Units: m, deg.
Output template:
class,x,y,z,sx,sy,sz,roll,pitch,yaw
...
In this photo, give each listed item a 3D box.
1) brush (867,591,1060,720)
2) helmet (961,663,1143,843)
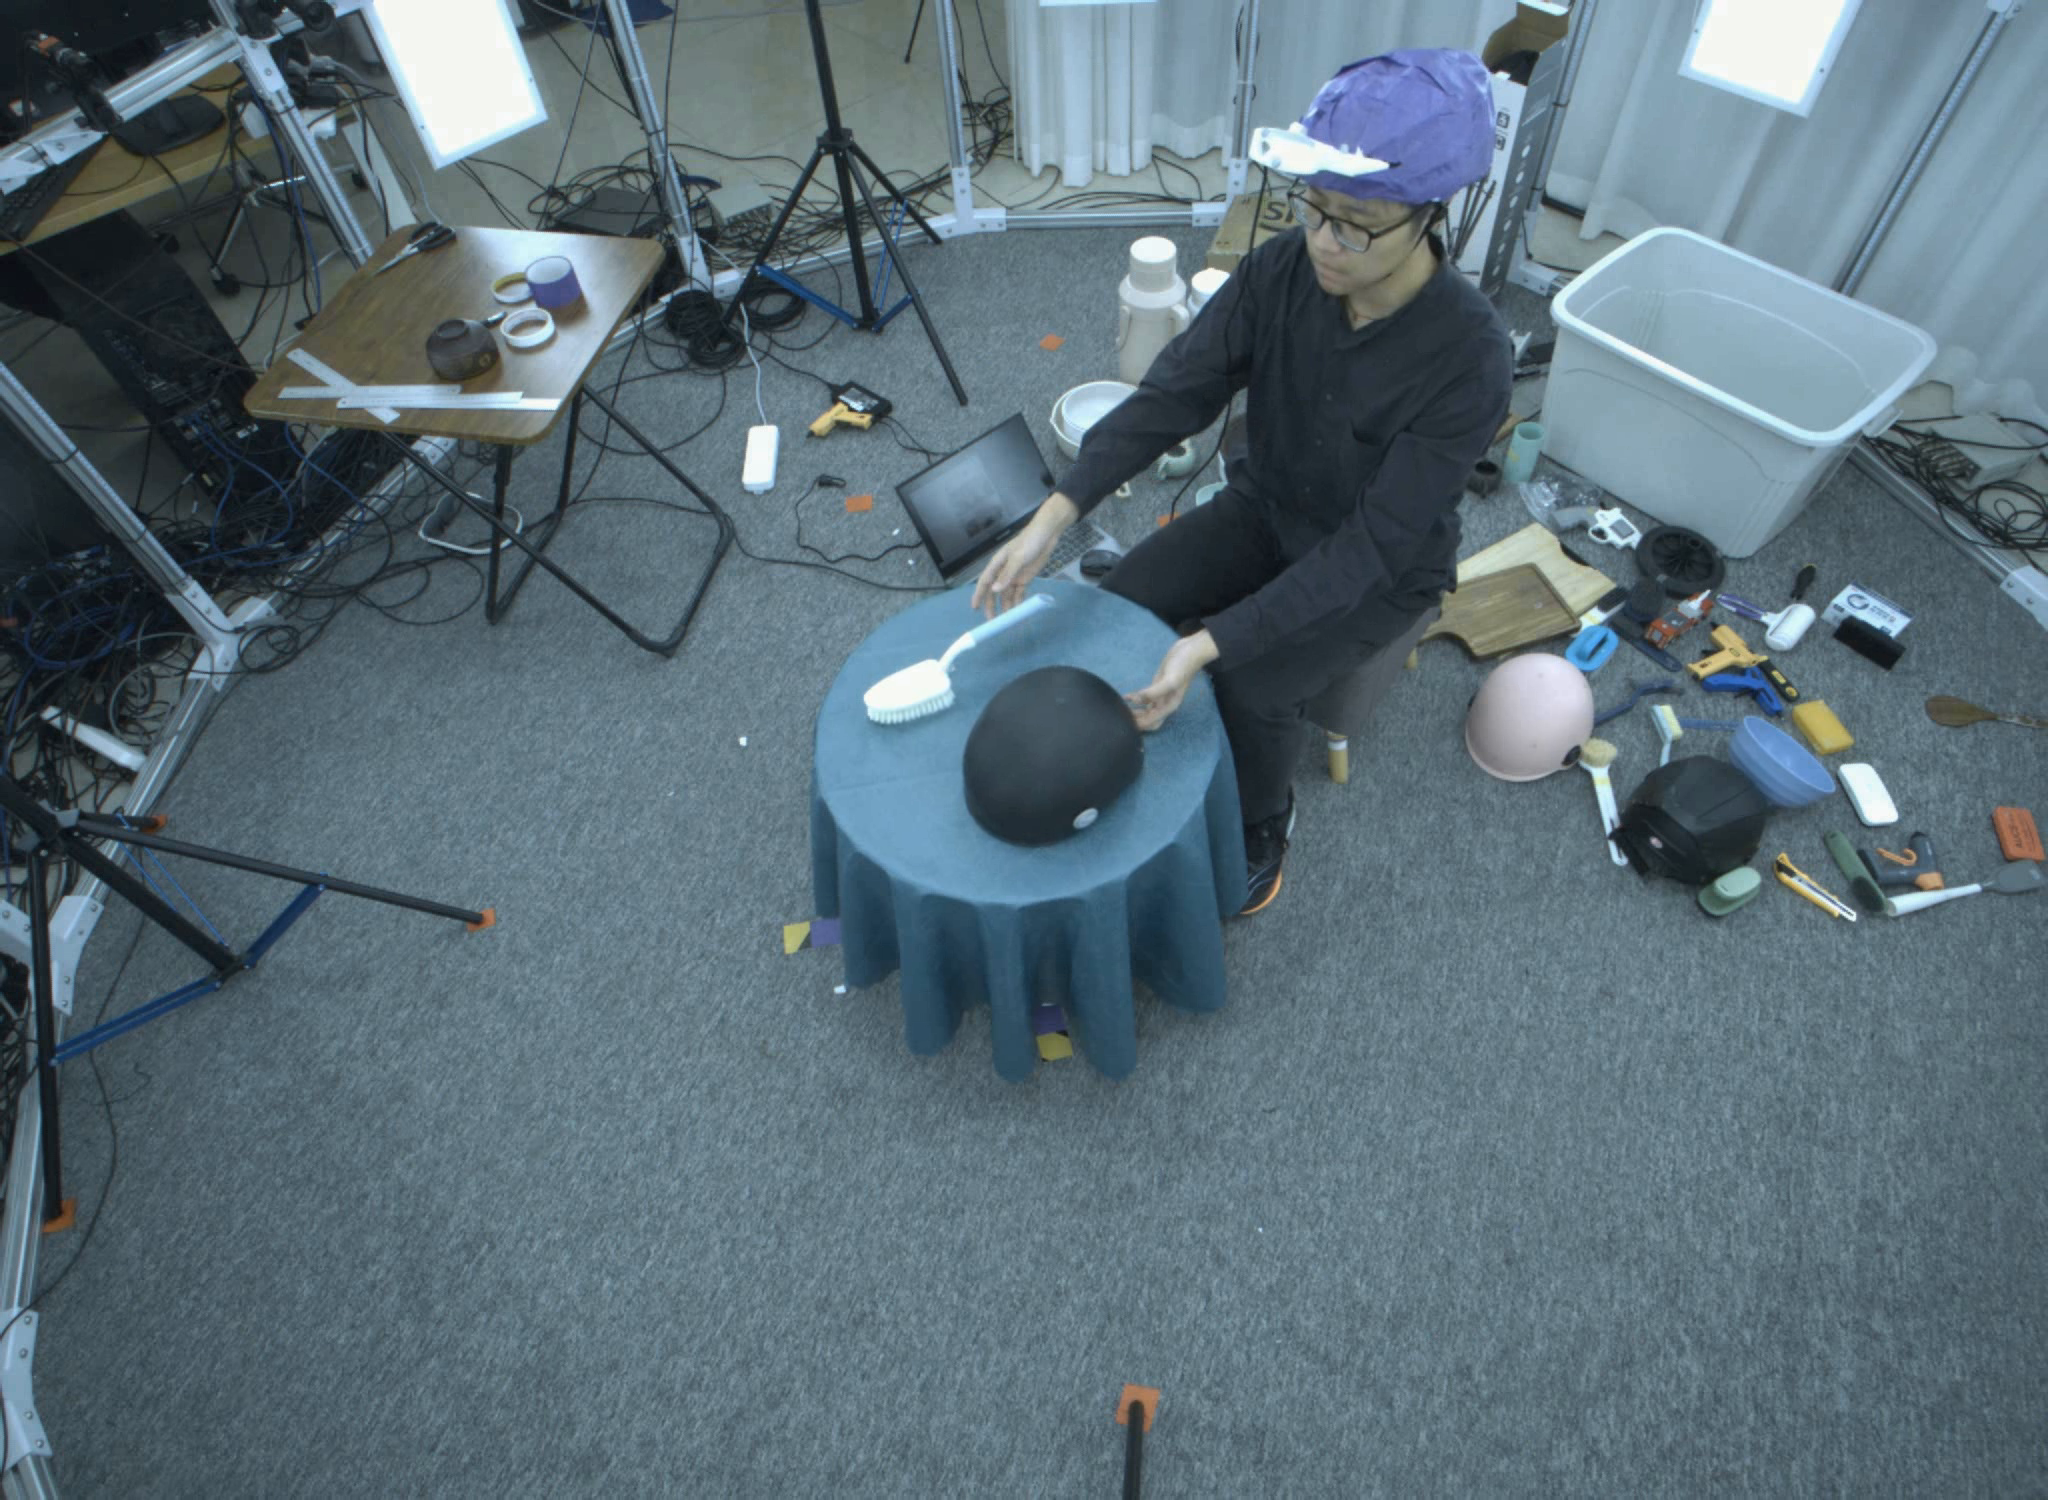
class,x,y,z,sx,sy,sz,roll,pitch,yaw
brush,-0.081,-0.131,1.831,0.326,0.084,0.083,-29,94,-3
helmet,0.033,-0.014,1.699,0.275,0.169,0.225,-38,60,-19
